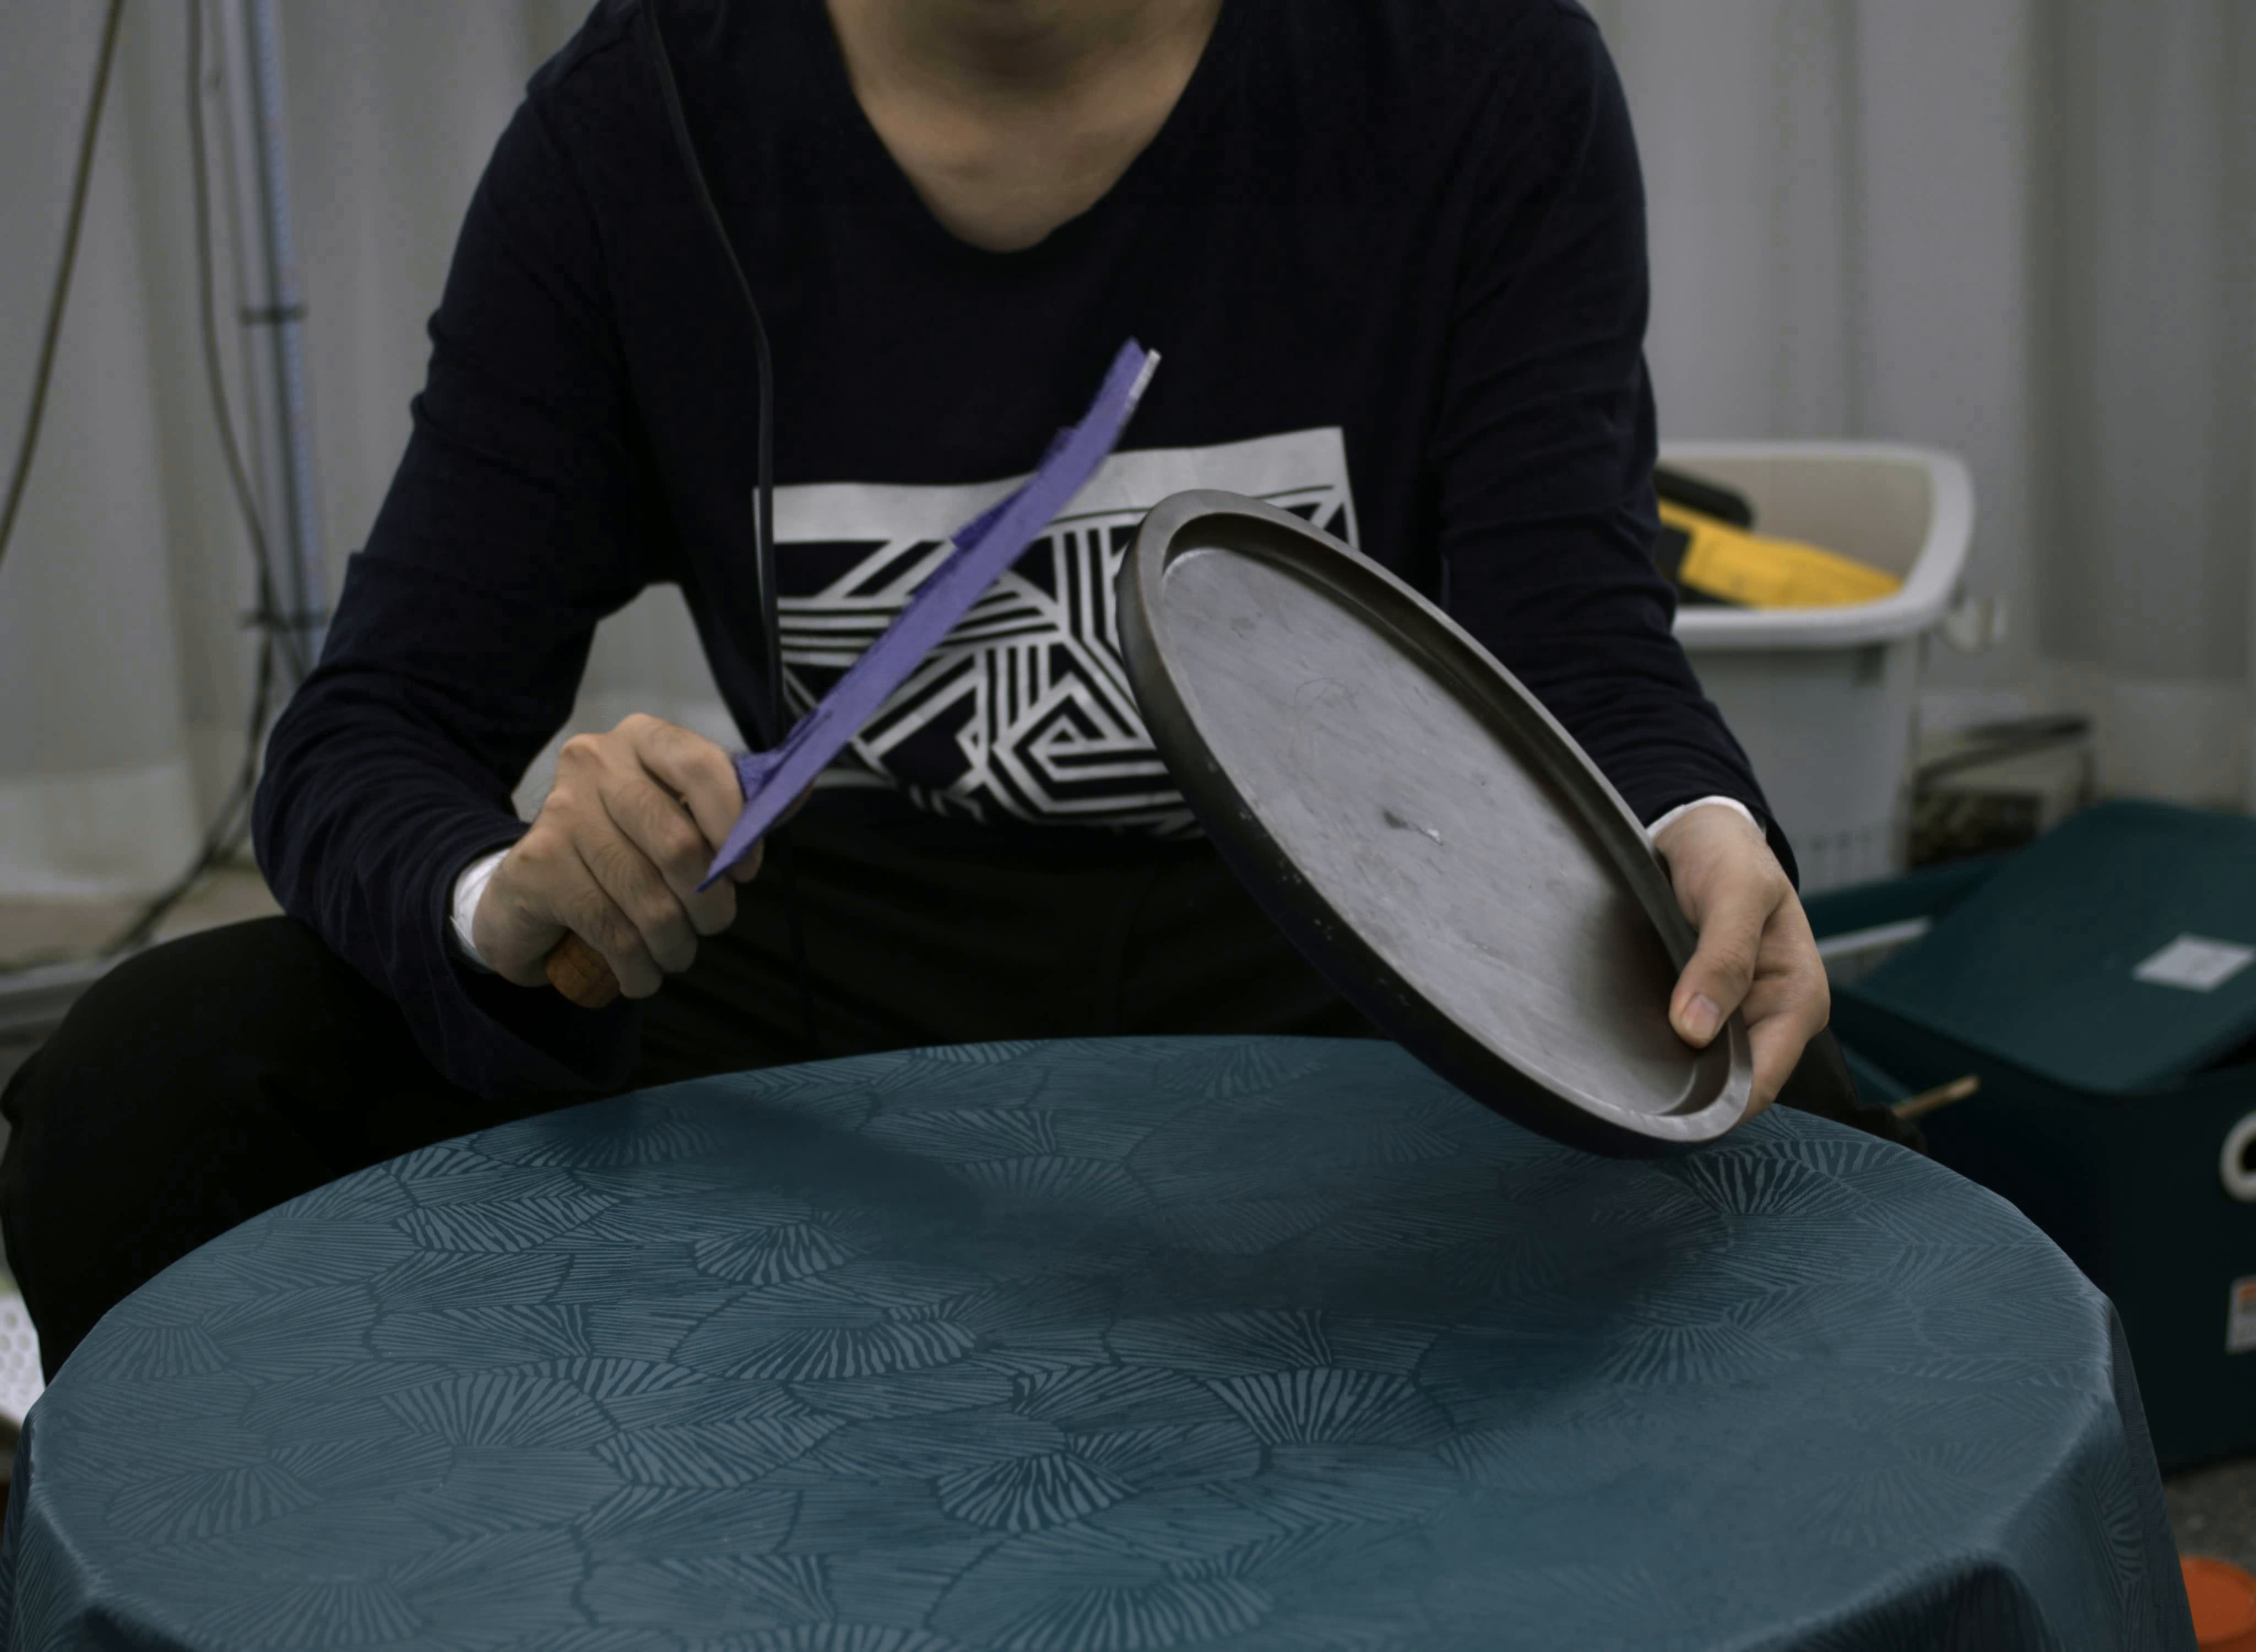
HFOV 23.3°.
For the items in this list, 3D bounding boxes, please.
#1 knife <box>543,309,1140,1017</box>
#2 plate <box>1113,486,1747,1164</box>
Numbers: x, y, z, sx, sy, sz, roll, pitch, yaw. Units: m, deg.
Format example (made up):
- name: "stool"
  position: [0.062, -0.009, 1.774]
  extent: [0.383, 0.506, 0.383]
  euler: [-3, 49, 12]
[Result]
- name: "knife"
  position: [-0.099, -0.036, 1.713]
  extent: [0.032, 0.313, 0.105]
  euler: [37, 29, -7]
- name: "plate"
  position: [0.089, 0.000, 1.625]
  extent: [0.029, 0.255, 0.256]
  euler: [-45, -2, 23]
